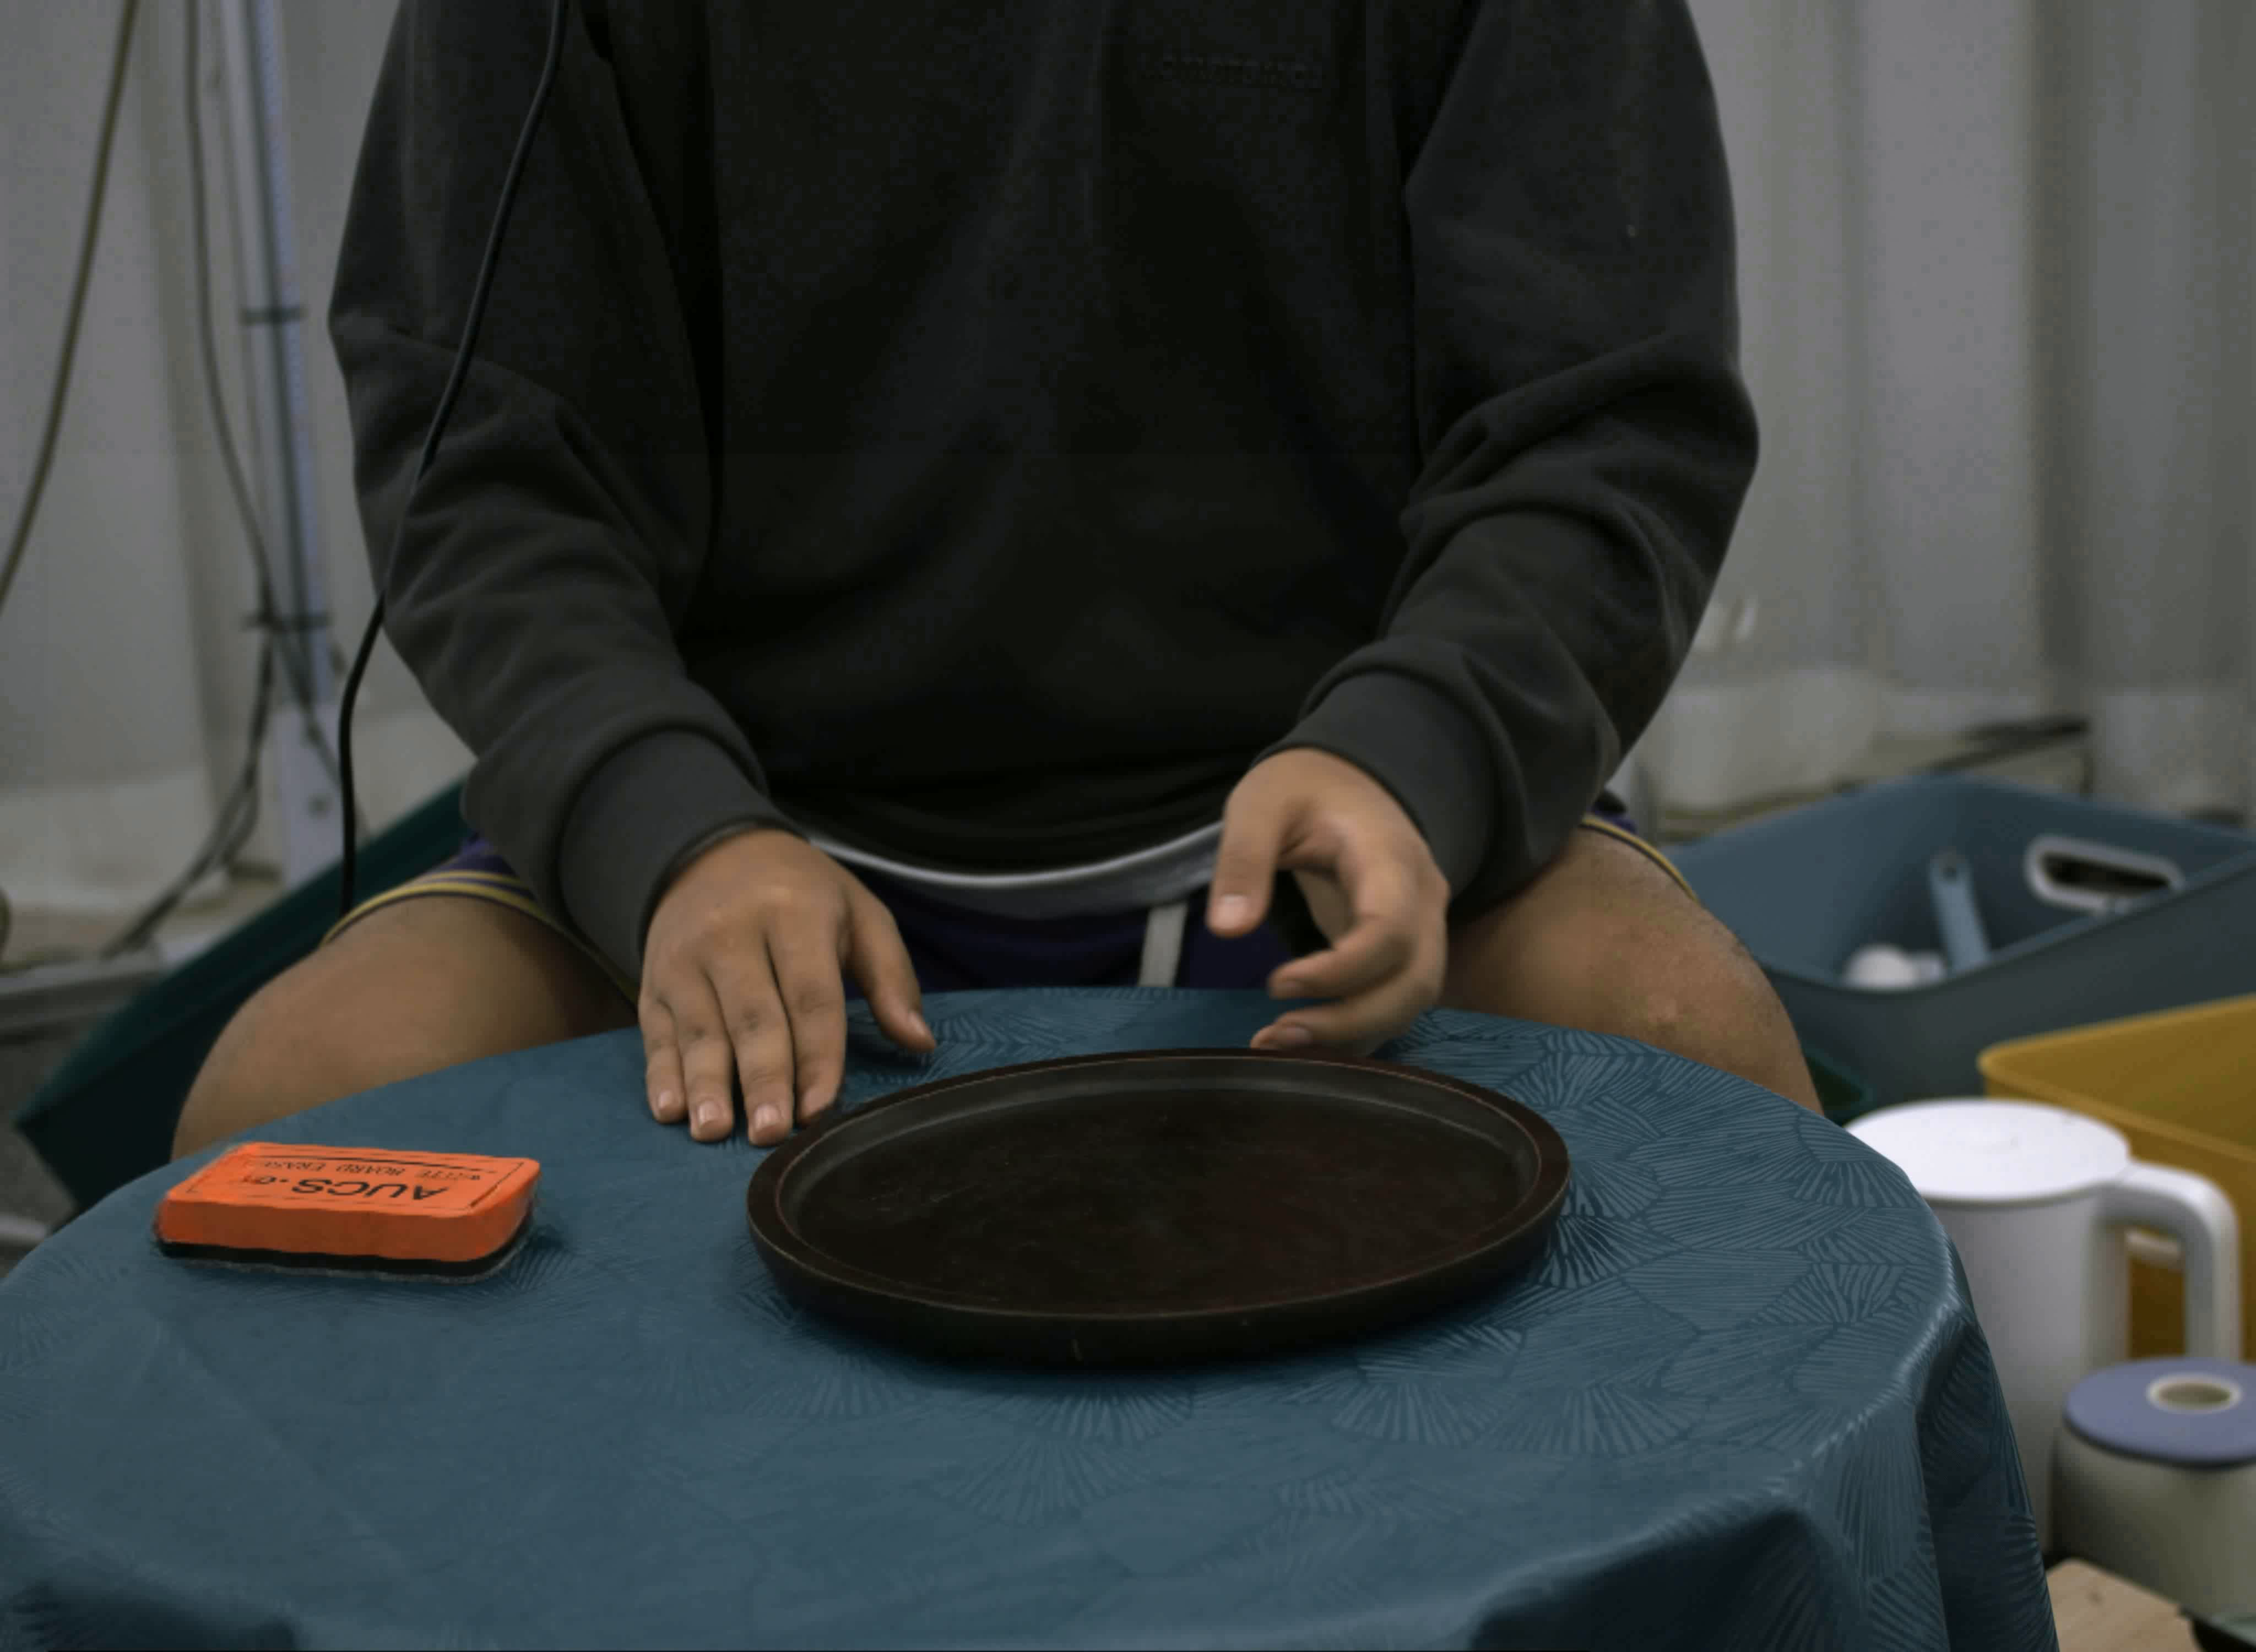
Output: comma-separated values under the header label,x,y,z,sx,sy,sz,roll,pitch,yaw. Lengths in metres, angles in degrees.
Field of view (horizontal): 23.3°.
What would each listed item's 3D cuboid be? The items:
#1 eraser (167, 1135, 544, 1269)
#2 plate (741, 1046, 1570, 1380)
label,x,y,z,sx,sy,sz,roll,pitch,yaw
eraser,-0.239,0.117,1.698,0.108,0.023,0.059,1,15,19
plate,0.009,0.116,1.668,0.254,0.029,0.256,-4,15,1
